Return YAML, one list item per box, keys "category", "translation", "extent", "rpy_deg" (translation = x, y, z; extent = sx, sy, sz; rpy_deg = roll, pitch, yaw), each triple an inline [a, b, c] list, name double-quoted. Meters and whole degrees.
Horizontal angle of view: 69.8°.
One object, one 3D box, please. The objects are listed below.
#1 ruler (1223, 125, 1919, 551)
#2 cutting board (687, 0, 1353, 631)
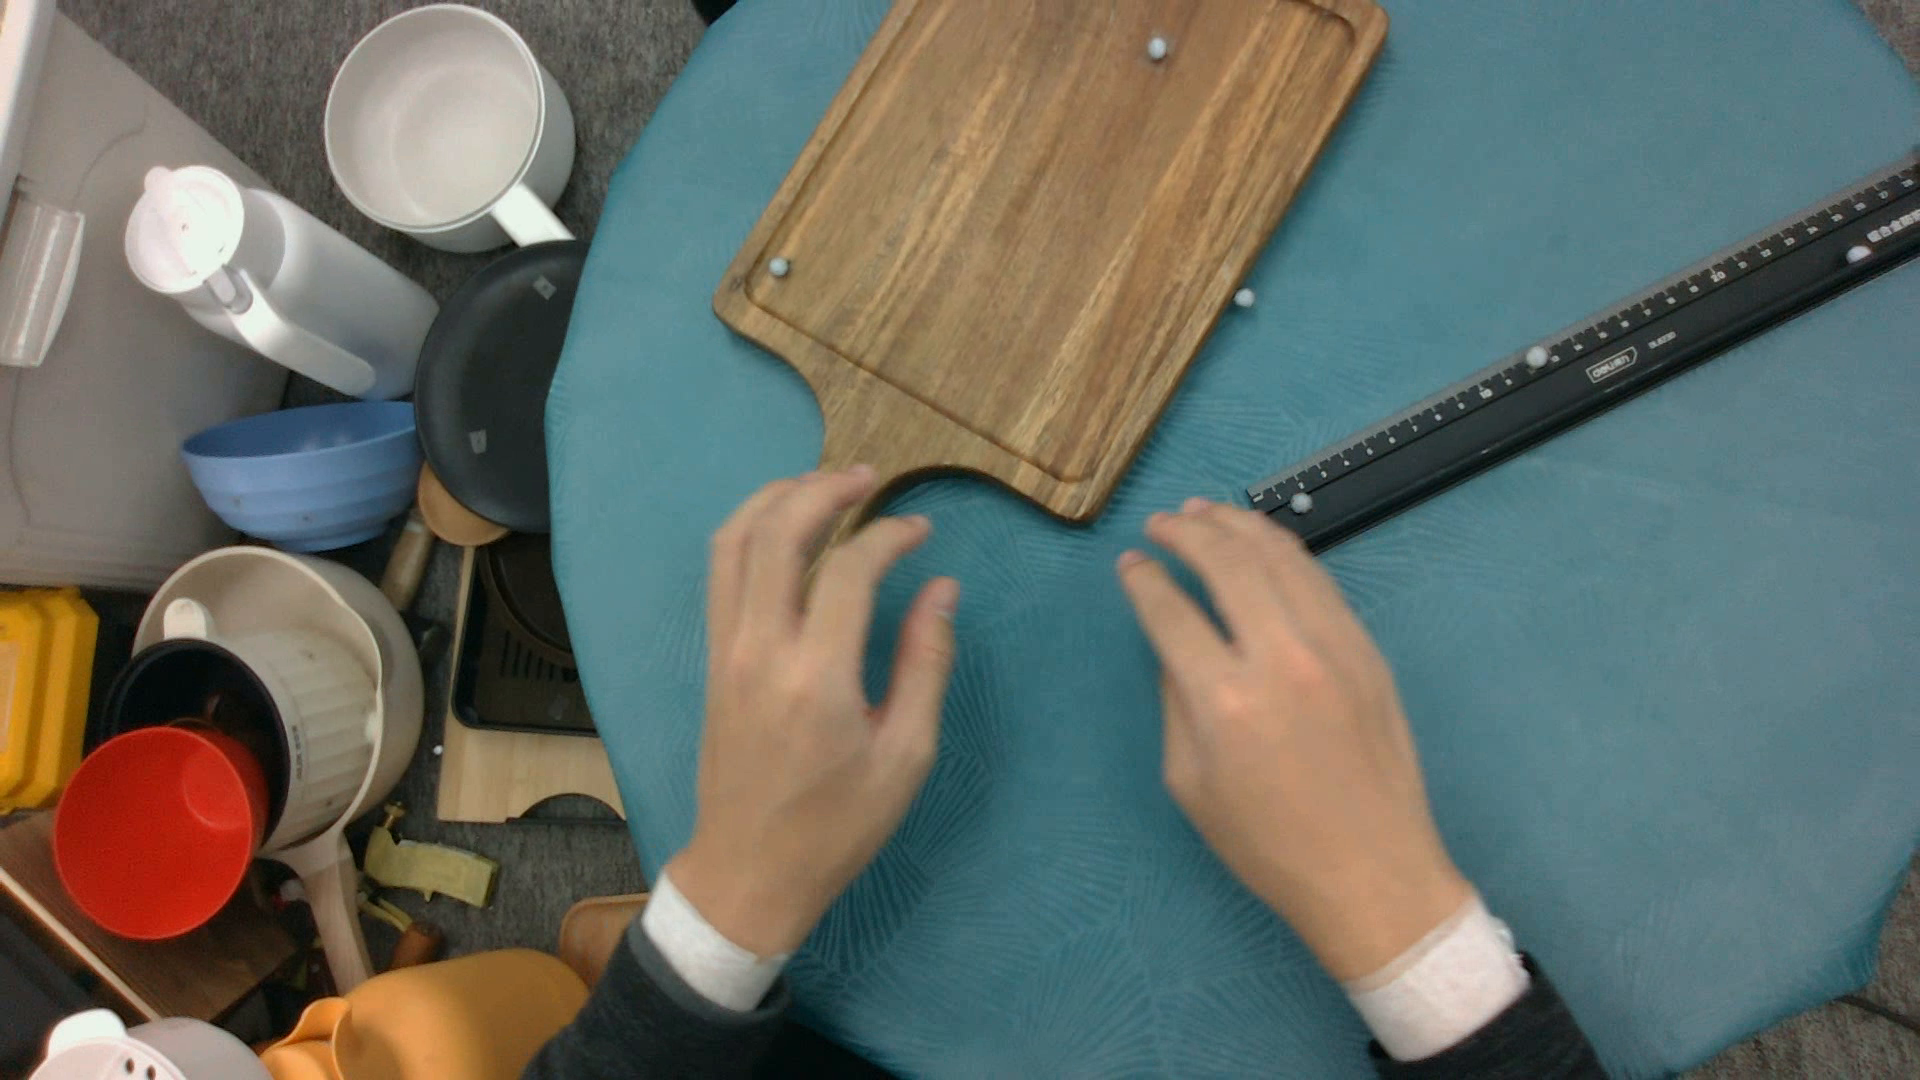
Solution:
- category: "ruler"
  translation: [0.253, -0.083, 0.549]
  extent: [0.312, 0.017, 0.039]
  rpy_deg: [-27, 74, 3]
- category: "cutting board"
  translation: [-0.001, -0.118, 0.591]
  extent: [0.201, 0.023, 0.352]
  rpy_deg: [29, 85, 12]
